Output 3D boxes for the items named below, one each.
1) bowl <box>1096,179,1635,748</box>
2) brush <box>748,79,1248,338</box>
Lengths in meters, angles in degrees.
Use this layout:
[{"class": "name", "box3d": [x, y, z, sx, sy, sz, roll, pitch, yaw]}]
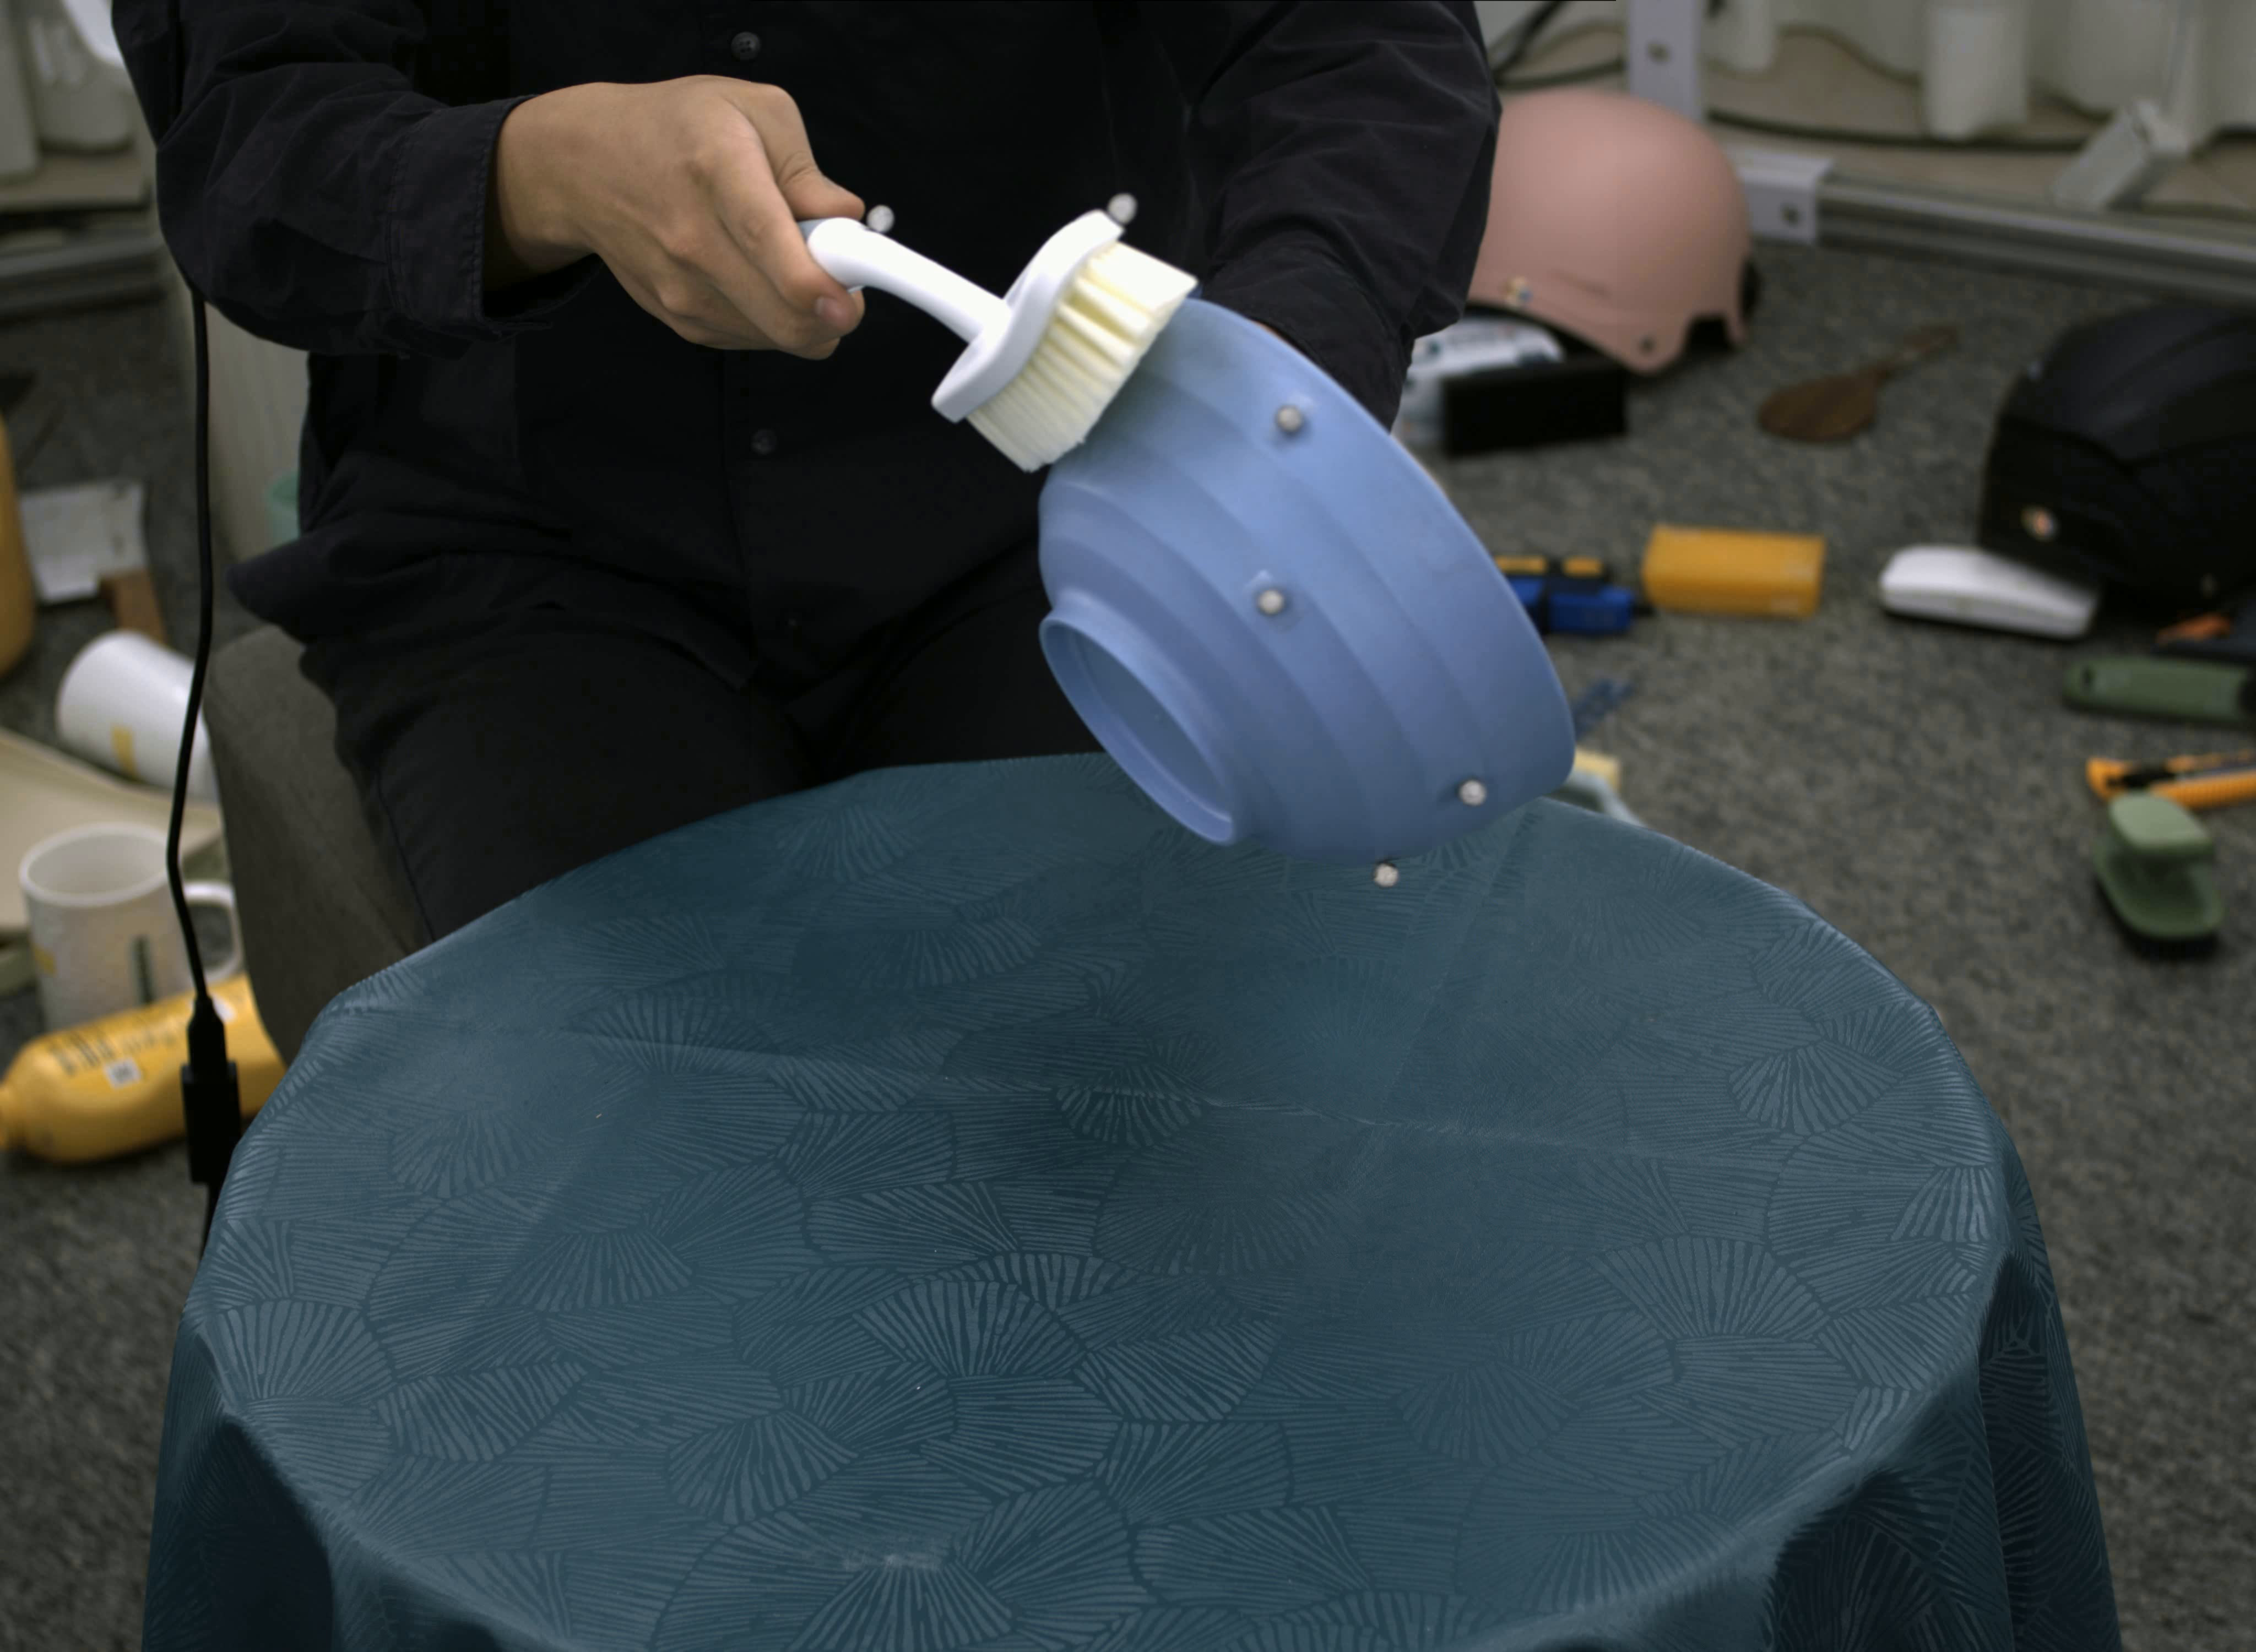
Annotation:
[{"class": "bowl", "box3d": [0.056, -0.096, 1.758, 0.096, 0.194, 0.197, -41, 40, -15]}, {"class": "brush", "box3d": [-0.033, -0.201, 1.813, 0.083, 0.084, 0.324, -20, 12, -19]}]
